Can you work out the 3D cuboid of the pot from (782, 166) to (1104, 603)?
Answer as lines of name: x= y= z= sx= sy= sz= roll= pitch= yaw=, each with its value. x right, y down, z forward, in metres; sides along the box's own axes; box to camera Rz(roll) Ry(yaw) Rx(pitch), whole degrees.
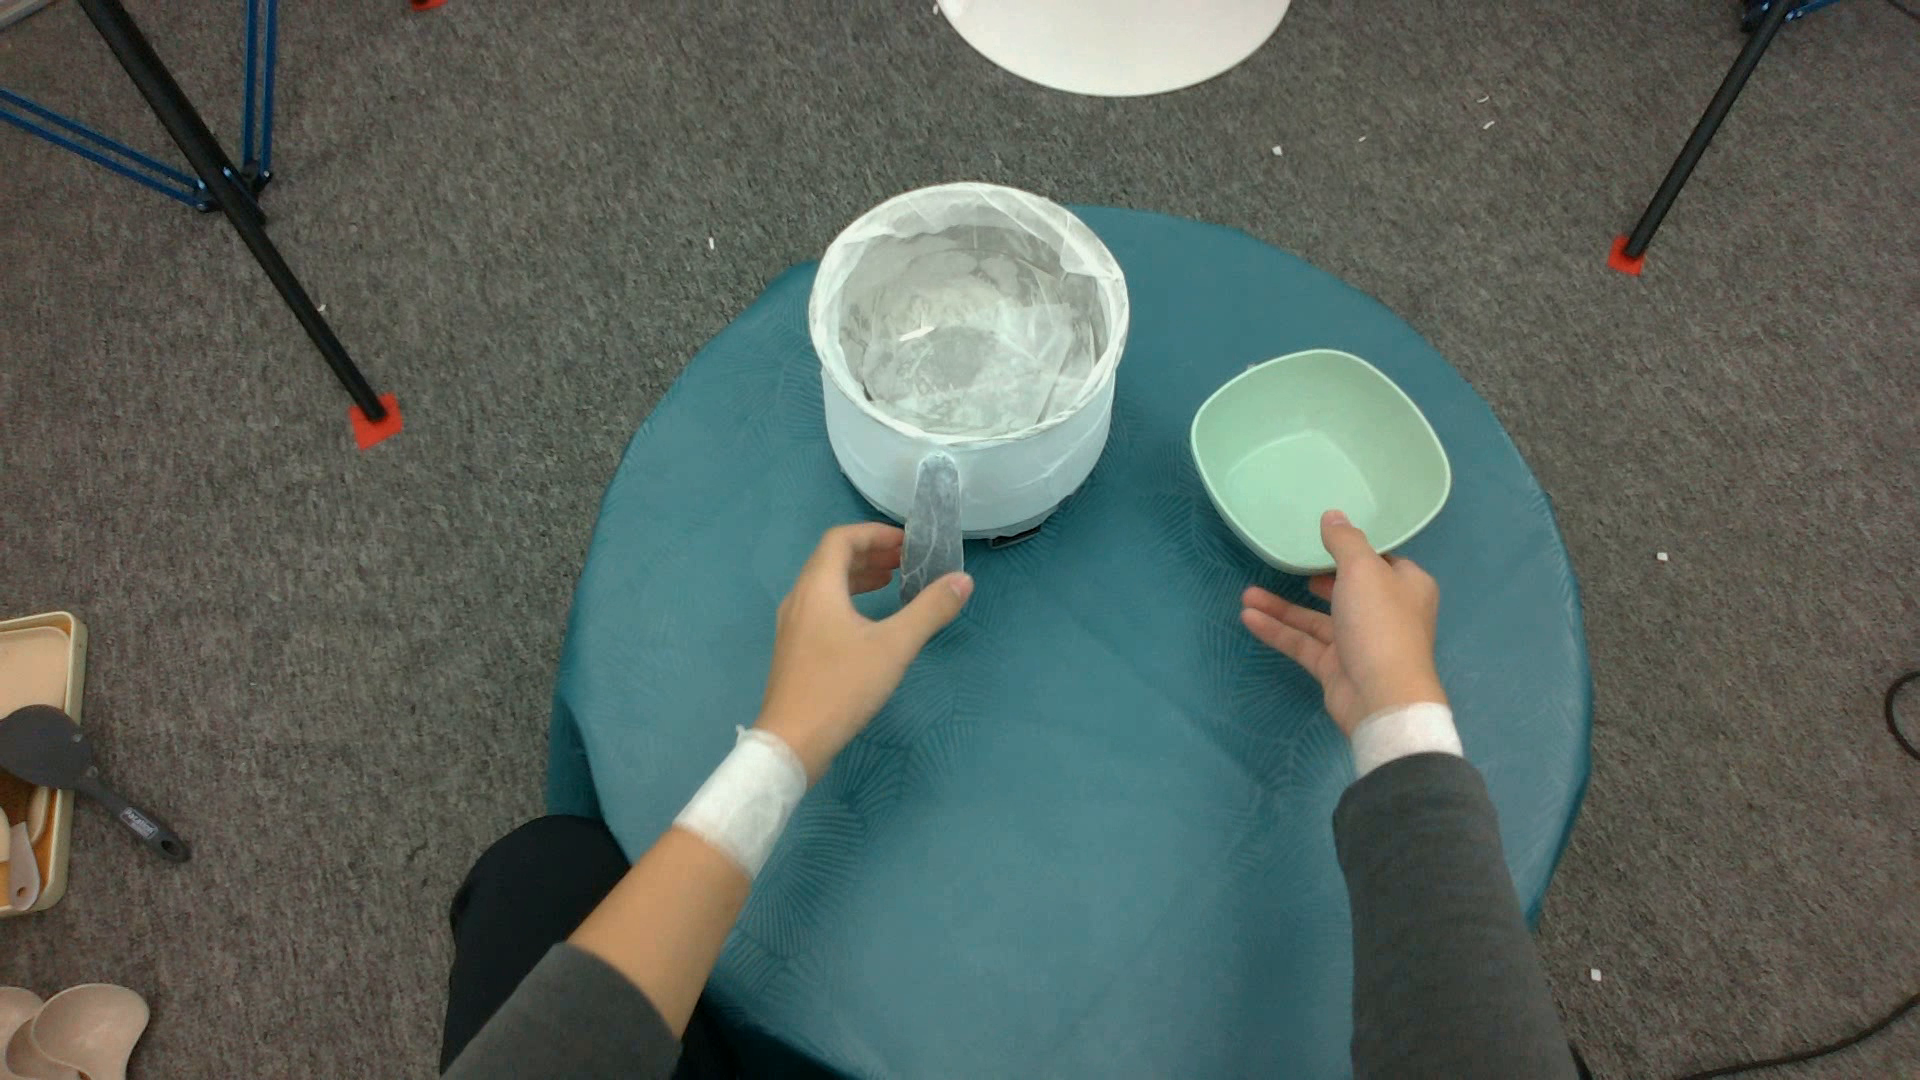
pot: x=-0.015 y=-0.086 z=0.803 sx=0.179 sy=0.136 sz=0.234 roll=8 pitch=64 yaw=2

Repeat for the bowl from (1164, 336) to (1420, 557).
bowl: x=0.194 y=-0.047 z=0.833 sx=0.151 sy=0.058 sz=0.152 roll=1 pitch=61 yaw=-1
